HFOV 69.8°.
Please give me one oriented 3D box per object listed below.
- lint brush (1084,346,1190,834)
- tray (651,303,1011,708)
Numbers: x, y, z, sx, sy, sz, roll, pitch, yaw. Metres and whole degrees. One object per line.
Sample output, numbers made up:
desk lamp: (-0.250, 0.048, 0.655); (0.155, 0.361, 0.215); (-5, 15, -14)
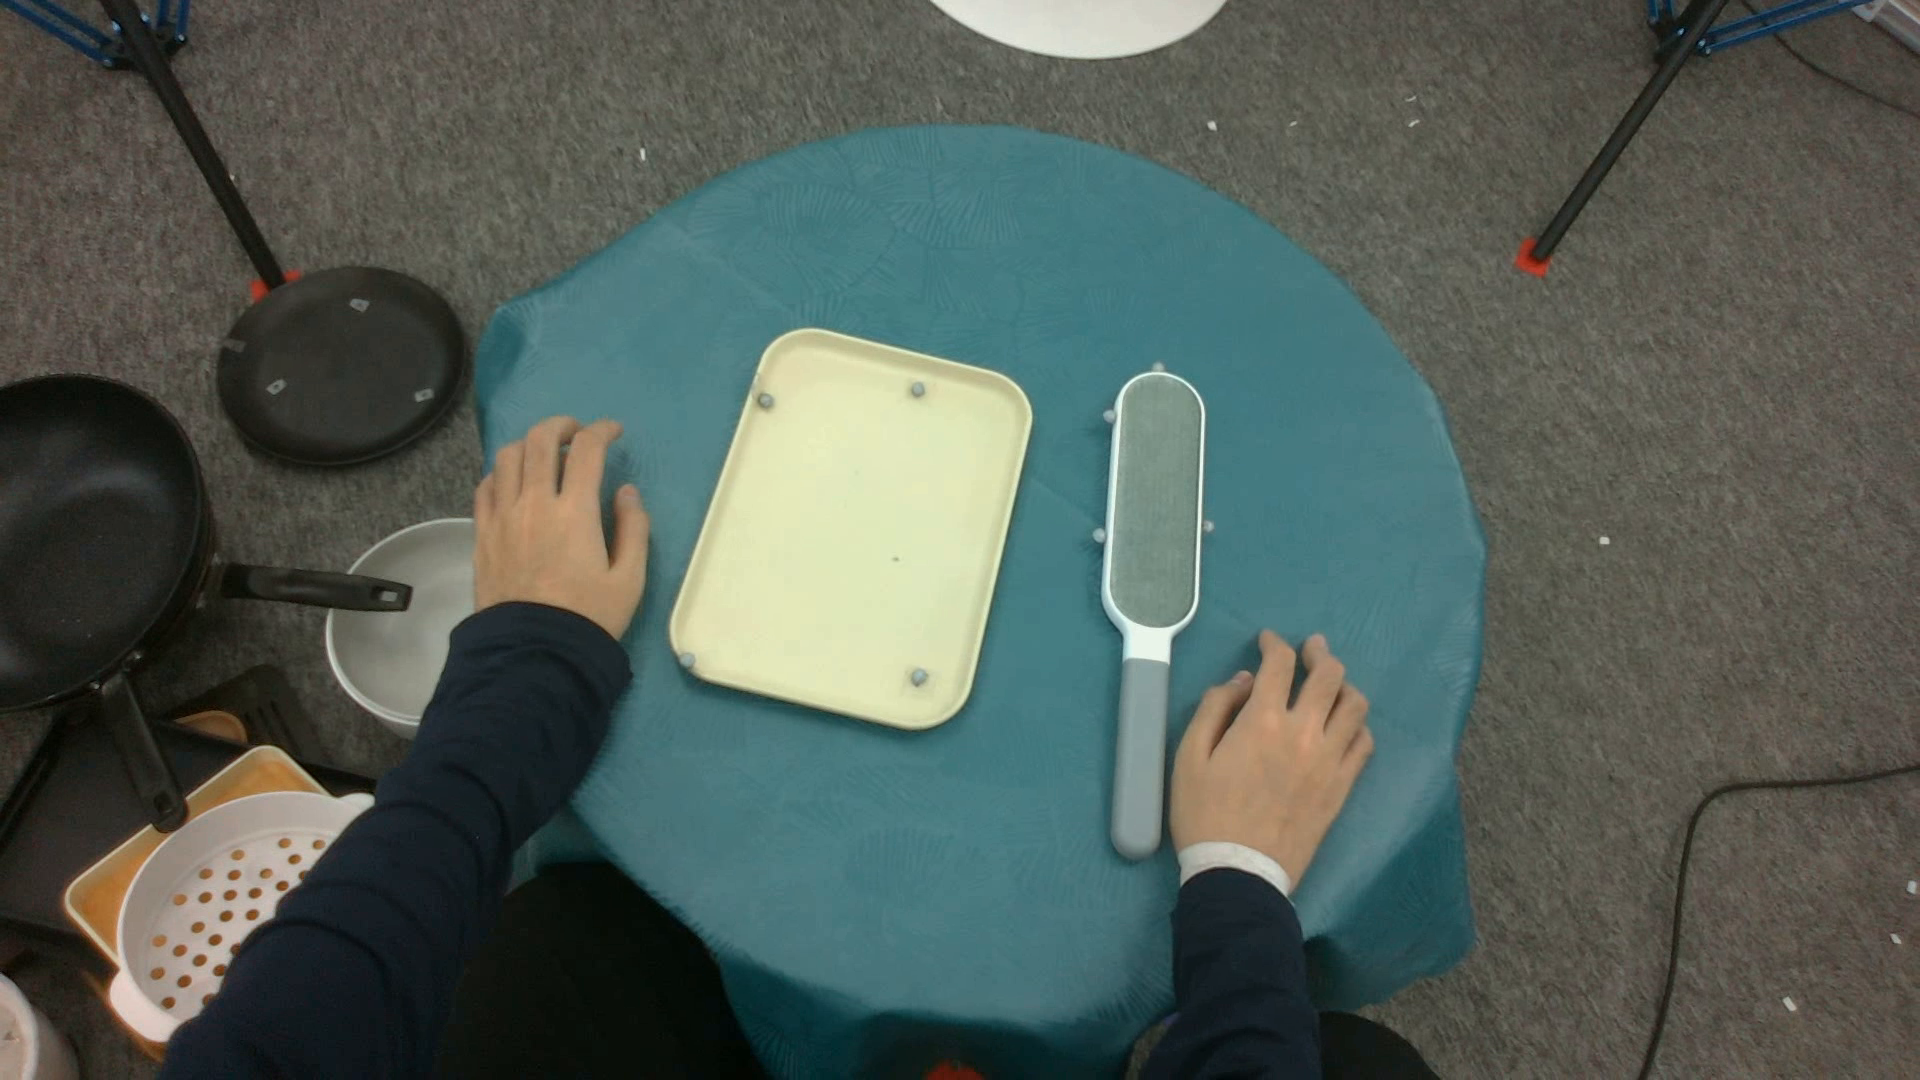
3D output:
lint brush: (0.099, 0.017, 0.796); (0.060, 0.021, 0.310); (11, 63, -9)
tray: (-0.069, -0.025, 0.798); (0.171, 0.017, 0.240); (14, 63, -2)
